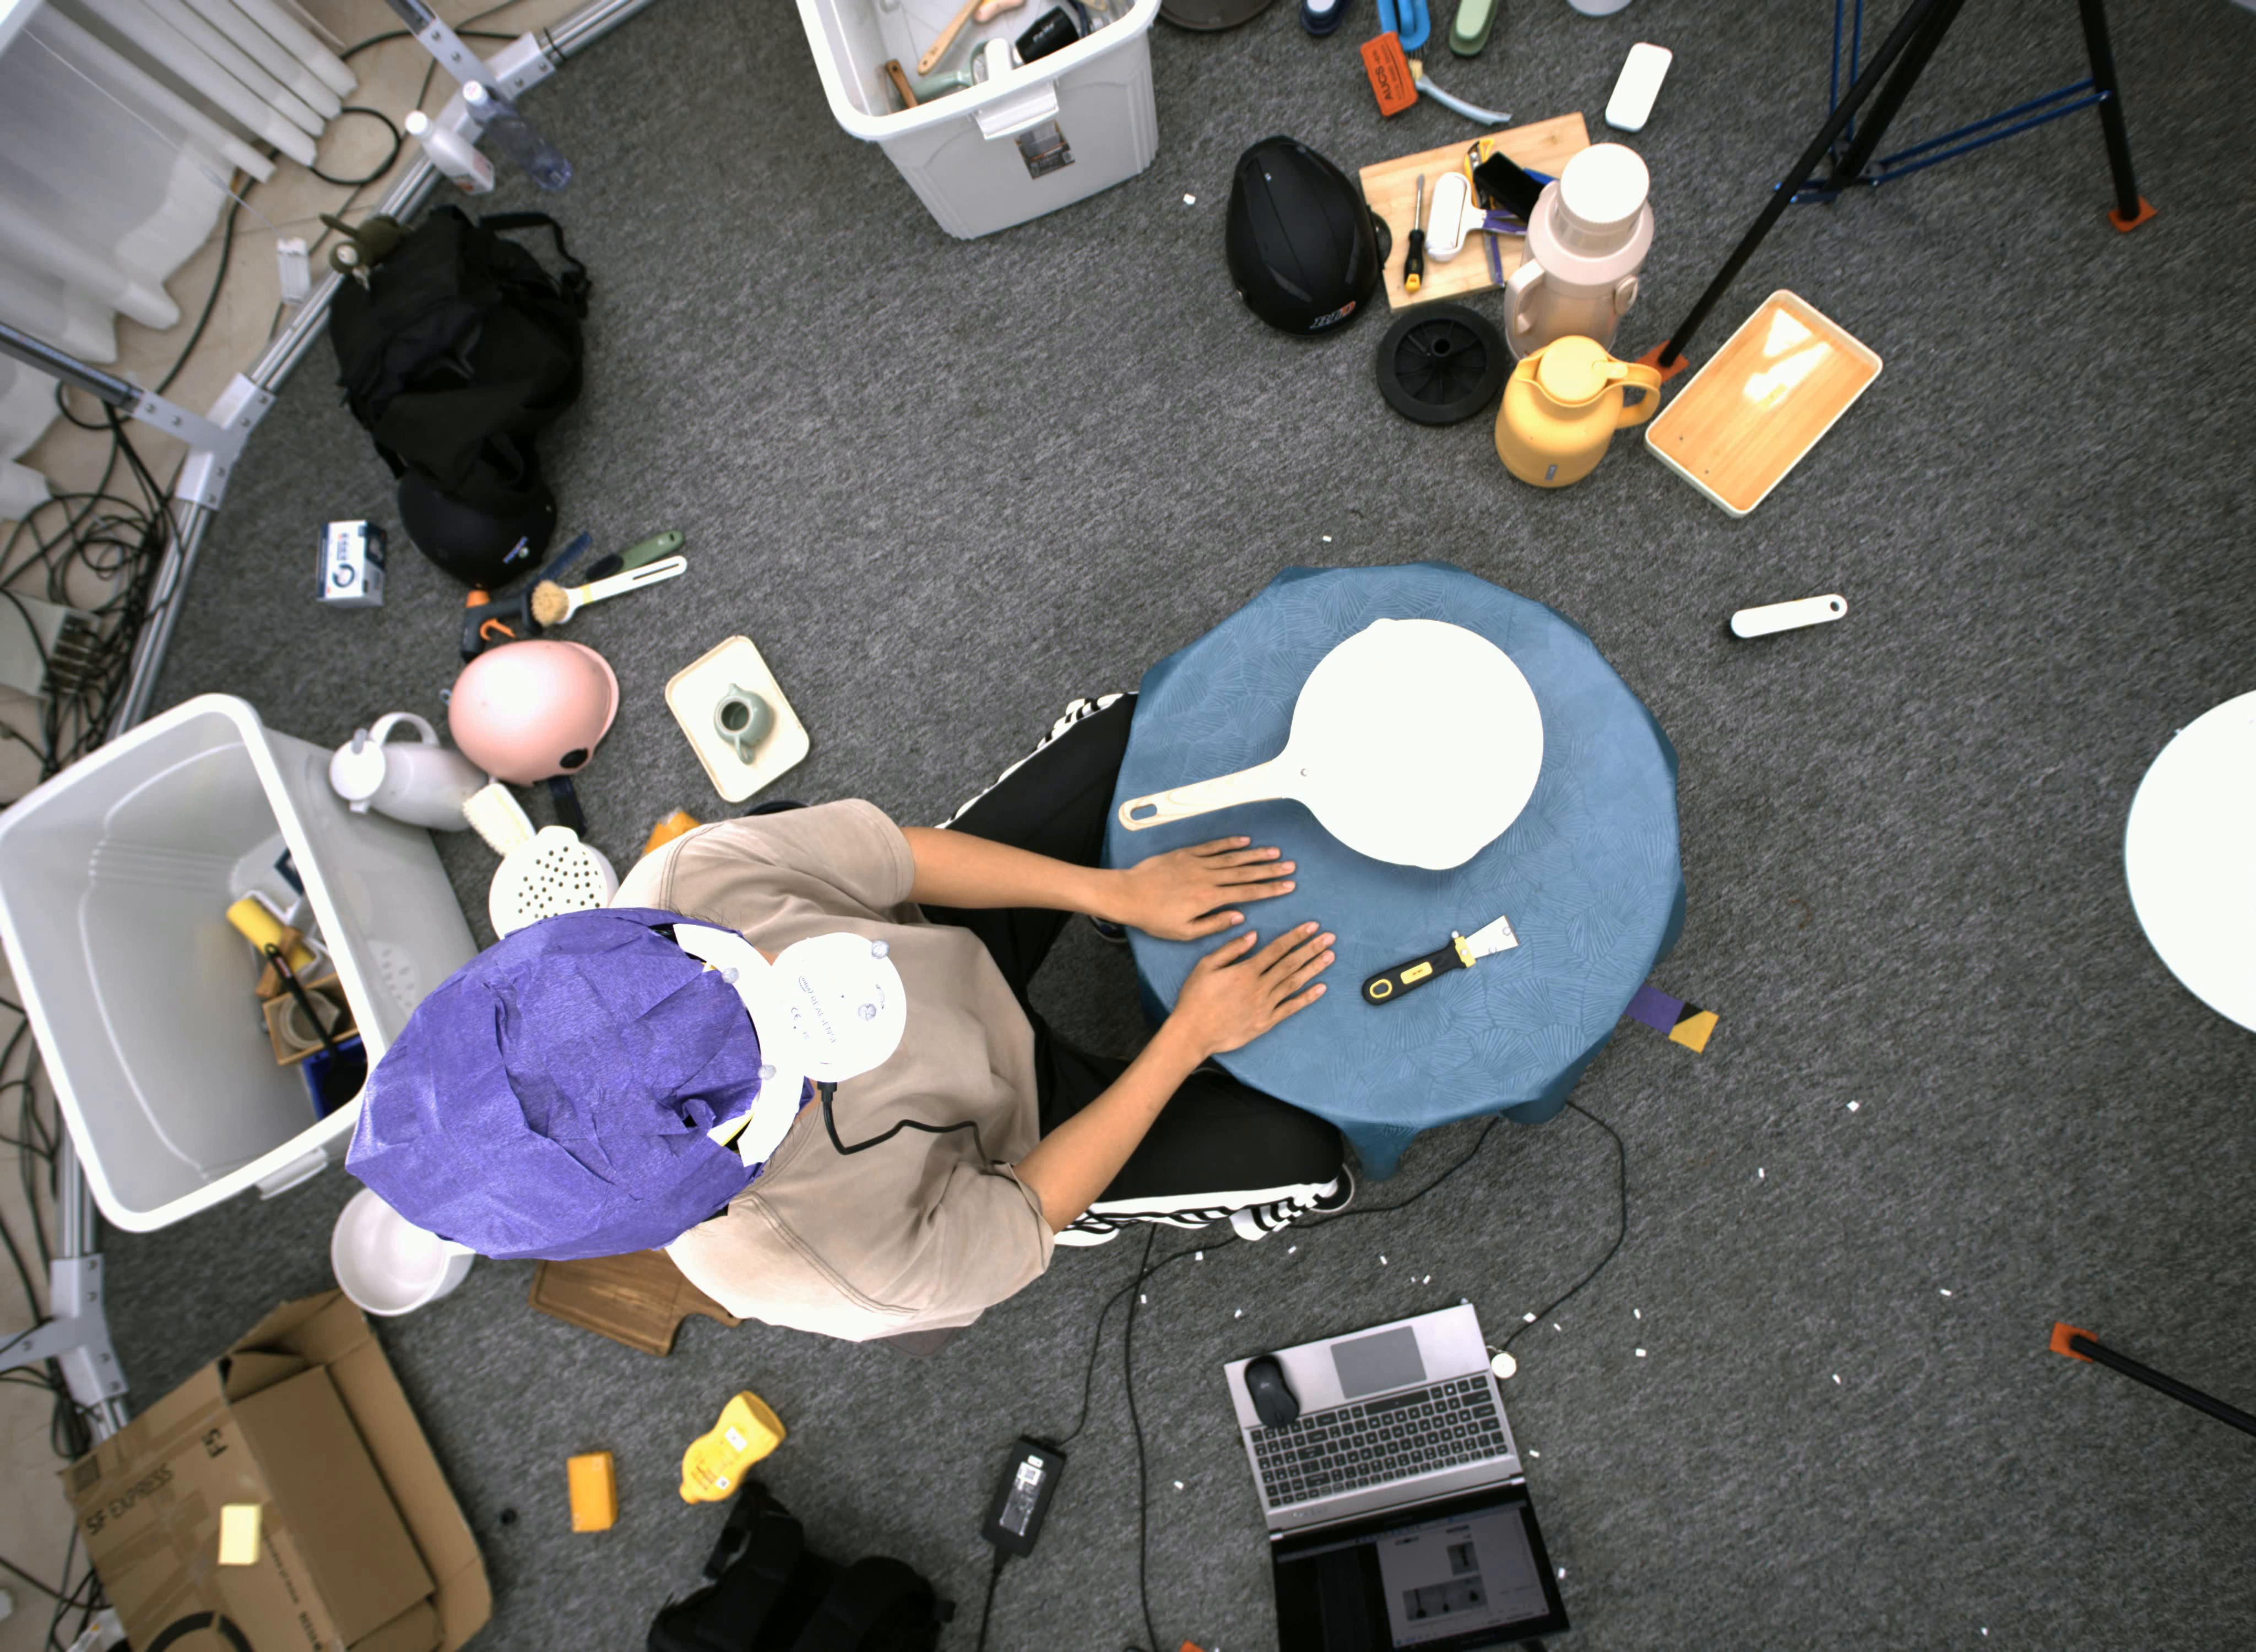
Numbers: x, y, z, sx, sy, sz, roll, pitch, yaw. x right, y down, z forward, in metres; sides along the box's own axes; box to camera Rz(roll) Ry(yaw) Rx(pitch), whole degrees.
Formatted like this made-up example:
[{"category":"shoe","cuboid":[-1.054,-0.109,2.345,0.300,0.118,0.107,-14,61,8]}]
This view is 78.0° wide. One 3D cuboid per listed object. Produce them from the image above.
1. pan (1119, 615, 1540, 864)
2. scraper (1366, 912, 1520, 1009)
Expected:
[{"category":"pan","cuboid":[0.206,-0.064,1.434,0.437,0.102,0.262,-16,86,9]},{"category":"scraper","cuboid":[0.326,0.142,1.438,0.171,0.015,0.039,-28,89,5]}]
